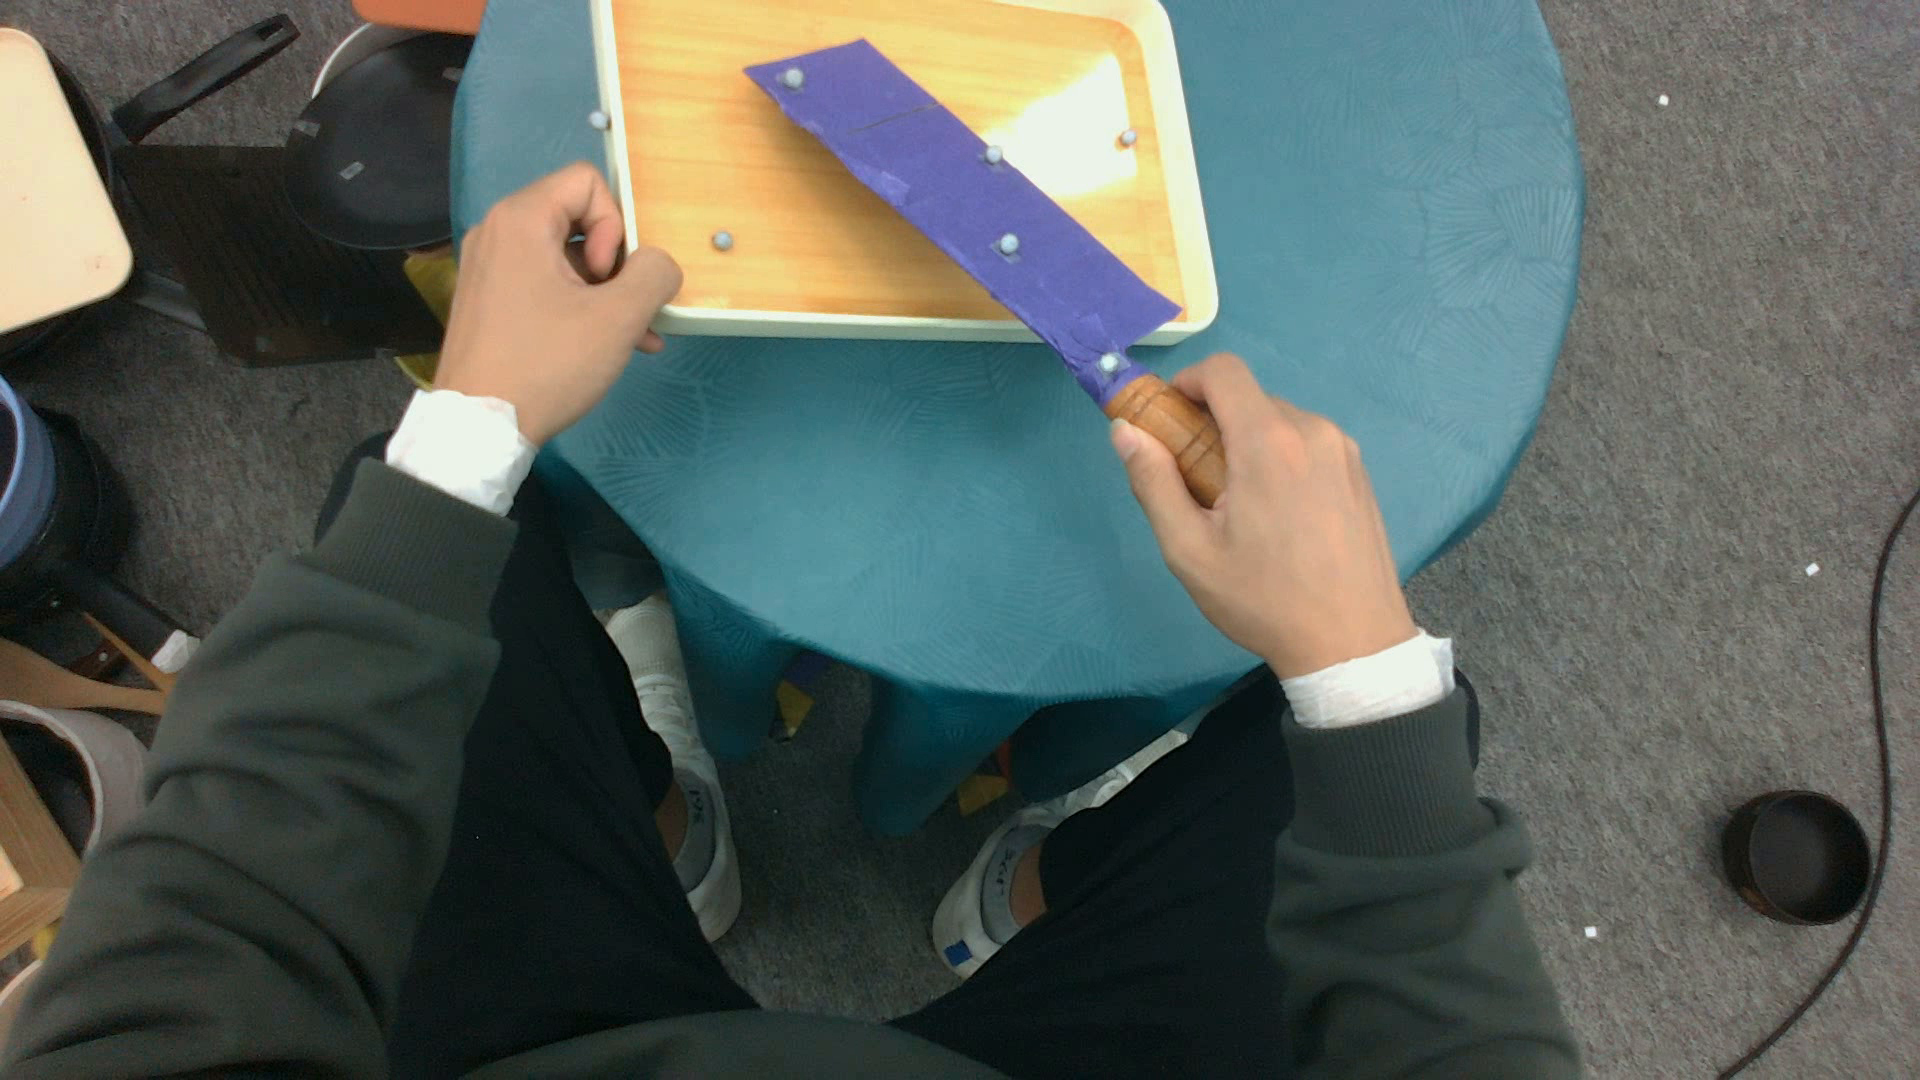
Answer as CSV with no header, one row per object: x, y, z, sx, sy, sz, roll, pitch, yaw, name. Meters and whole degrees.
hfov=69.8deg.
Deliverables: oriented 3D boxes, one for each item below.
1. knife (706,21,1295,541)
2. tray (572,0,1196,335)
0.031,-0.128,0.602,0.315,0.032,0.104,44,43,8,knife
-0.027,-0.193,0.661,0.301,0.027,0.192,-3,79,-28,tray
